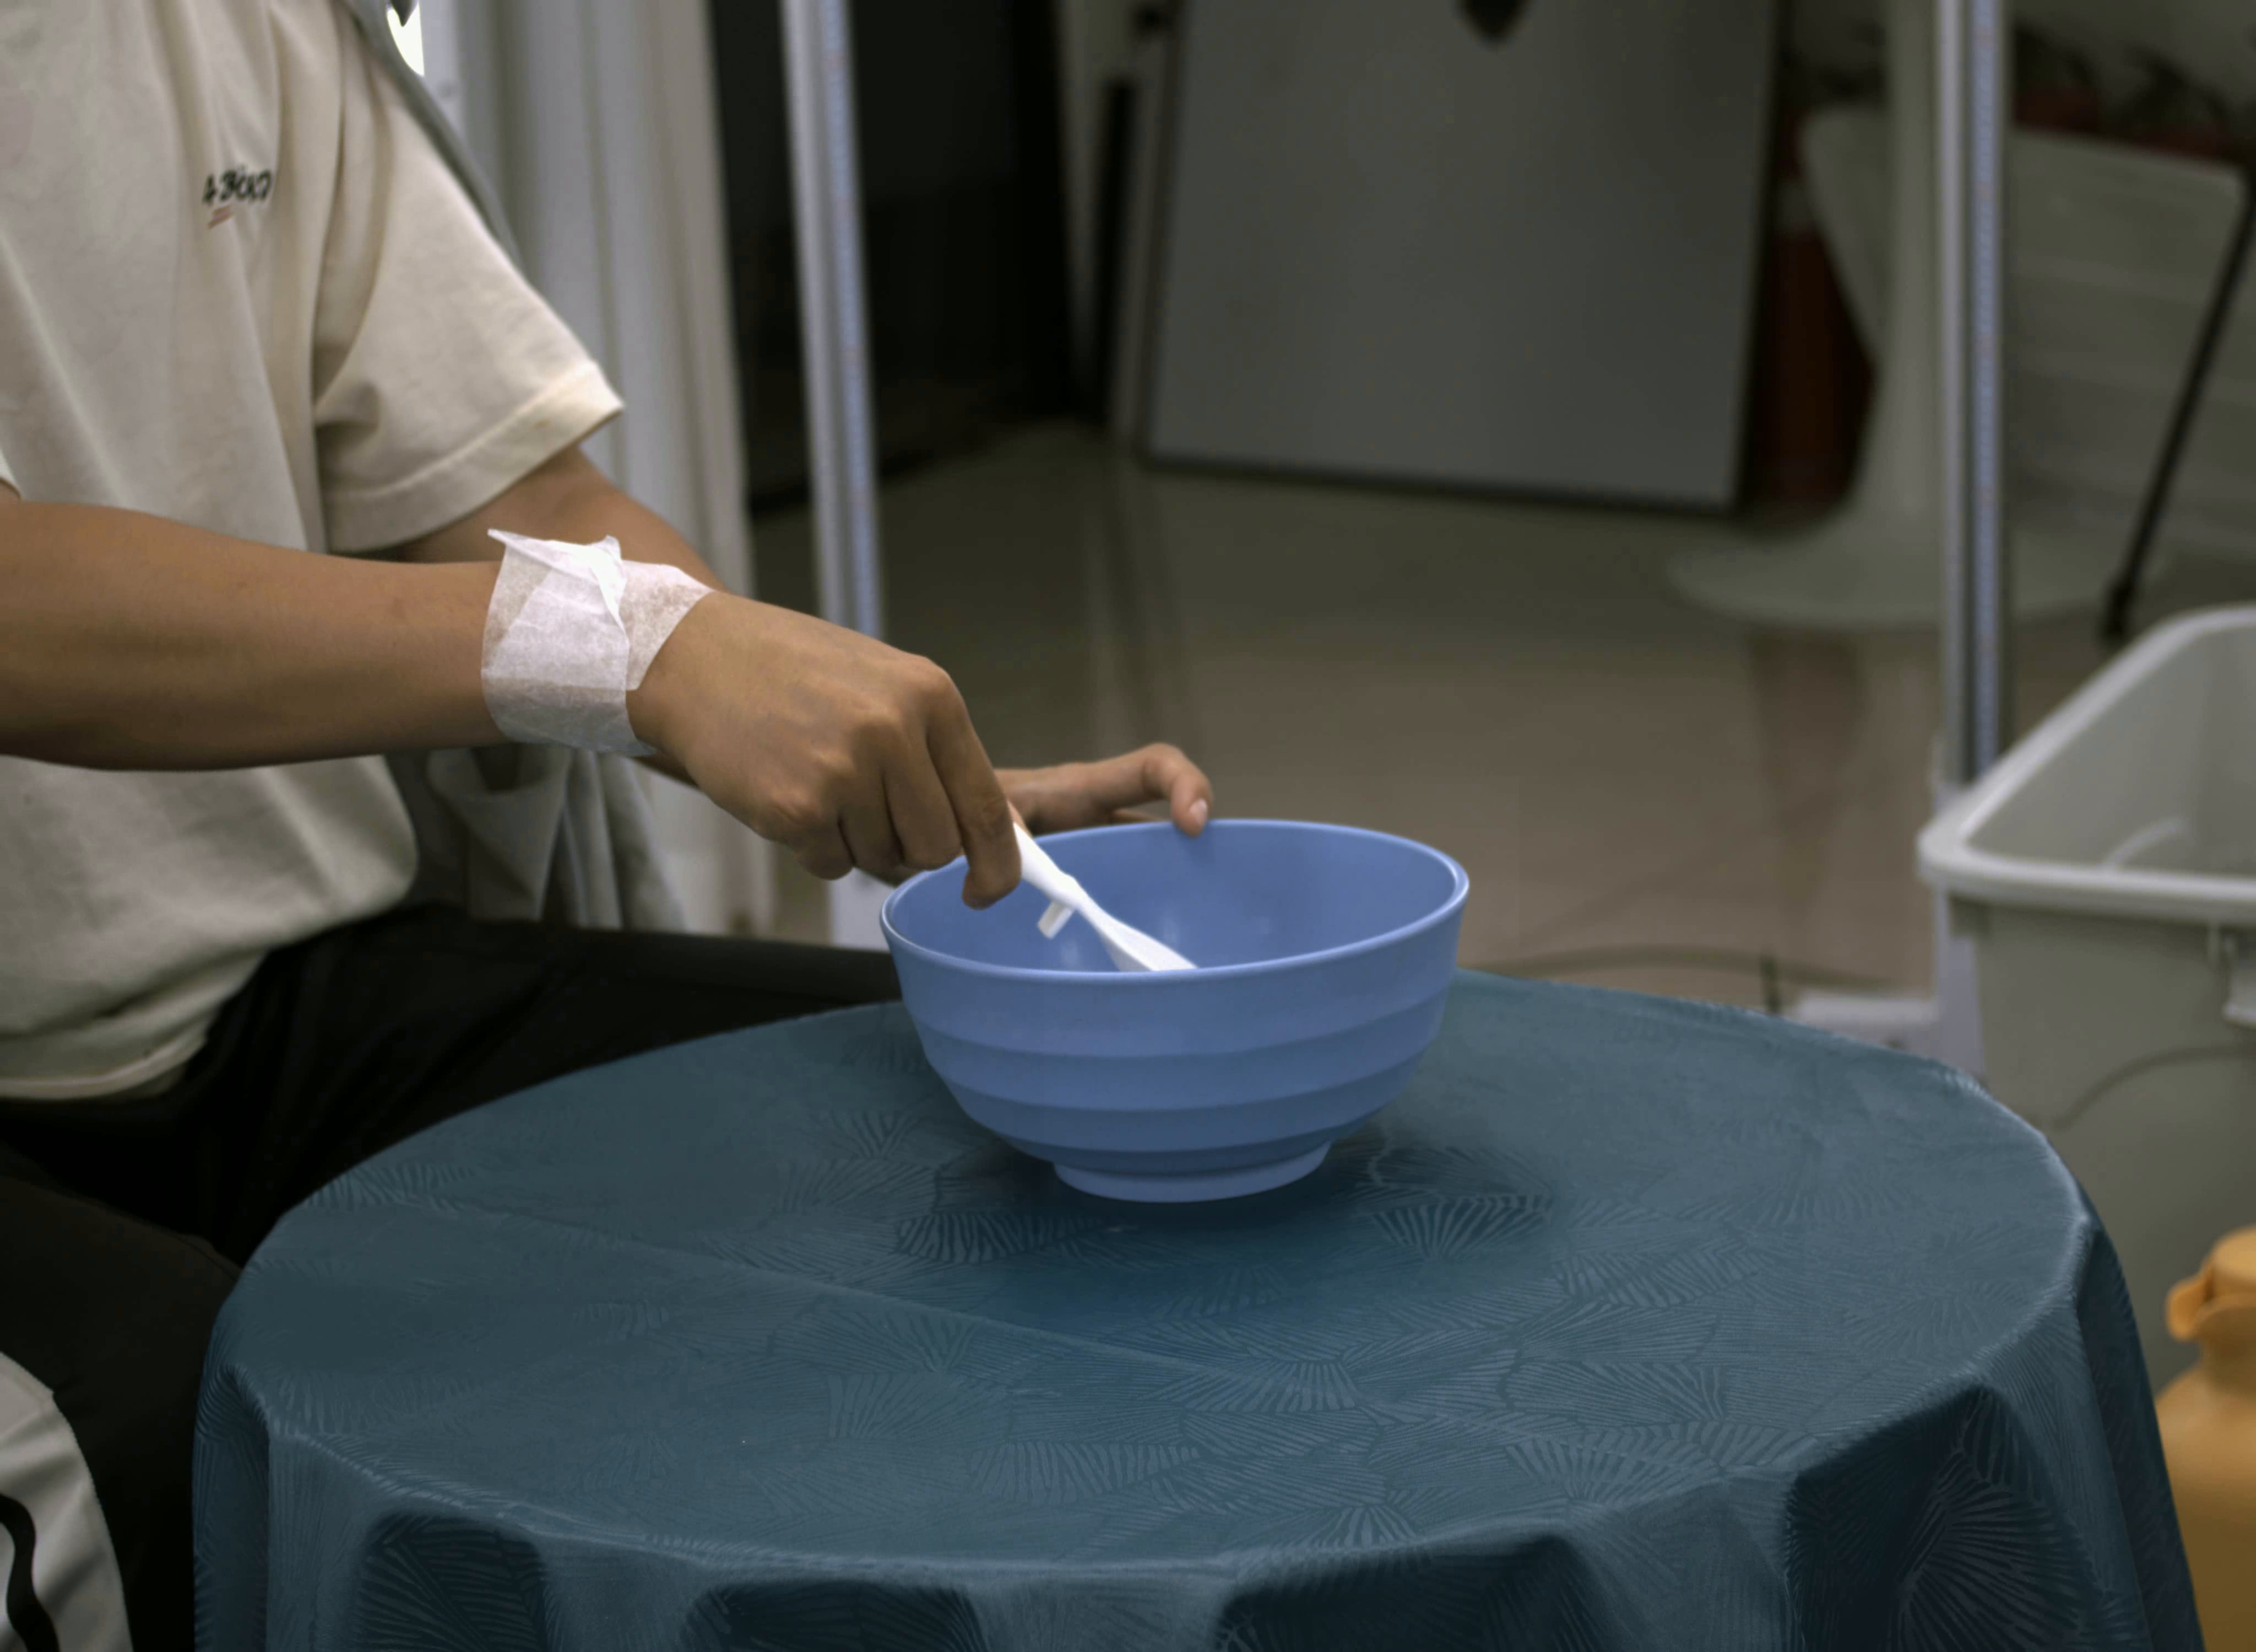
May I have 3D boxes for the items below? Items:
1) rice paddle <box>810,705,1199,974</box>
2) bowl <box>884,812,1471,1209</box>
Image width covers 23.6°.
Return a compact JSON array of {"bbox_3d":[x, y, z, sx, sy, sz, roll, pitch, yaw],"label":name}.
[{"bbox_3d":[-0.017,0.027,1.771,0.202,0.029,0.069,35,8,-22],"label":"rice paddle"},{"bbox_3d":[0.018,0.067,1.790,0.194,0.096,0.197,-3,15,0],"label":"bowl"}]
